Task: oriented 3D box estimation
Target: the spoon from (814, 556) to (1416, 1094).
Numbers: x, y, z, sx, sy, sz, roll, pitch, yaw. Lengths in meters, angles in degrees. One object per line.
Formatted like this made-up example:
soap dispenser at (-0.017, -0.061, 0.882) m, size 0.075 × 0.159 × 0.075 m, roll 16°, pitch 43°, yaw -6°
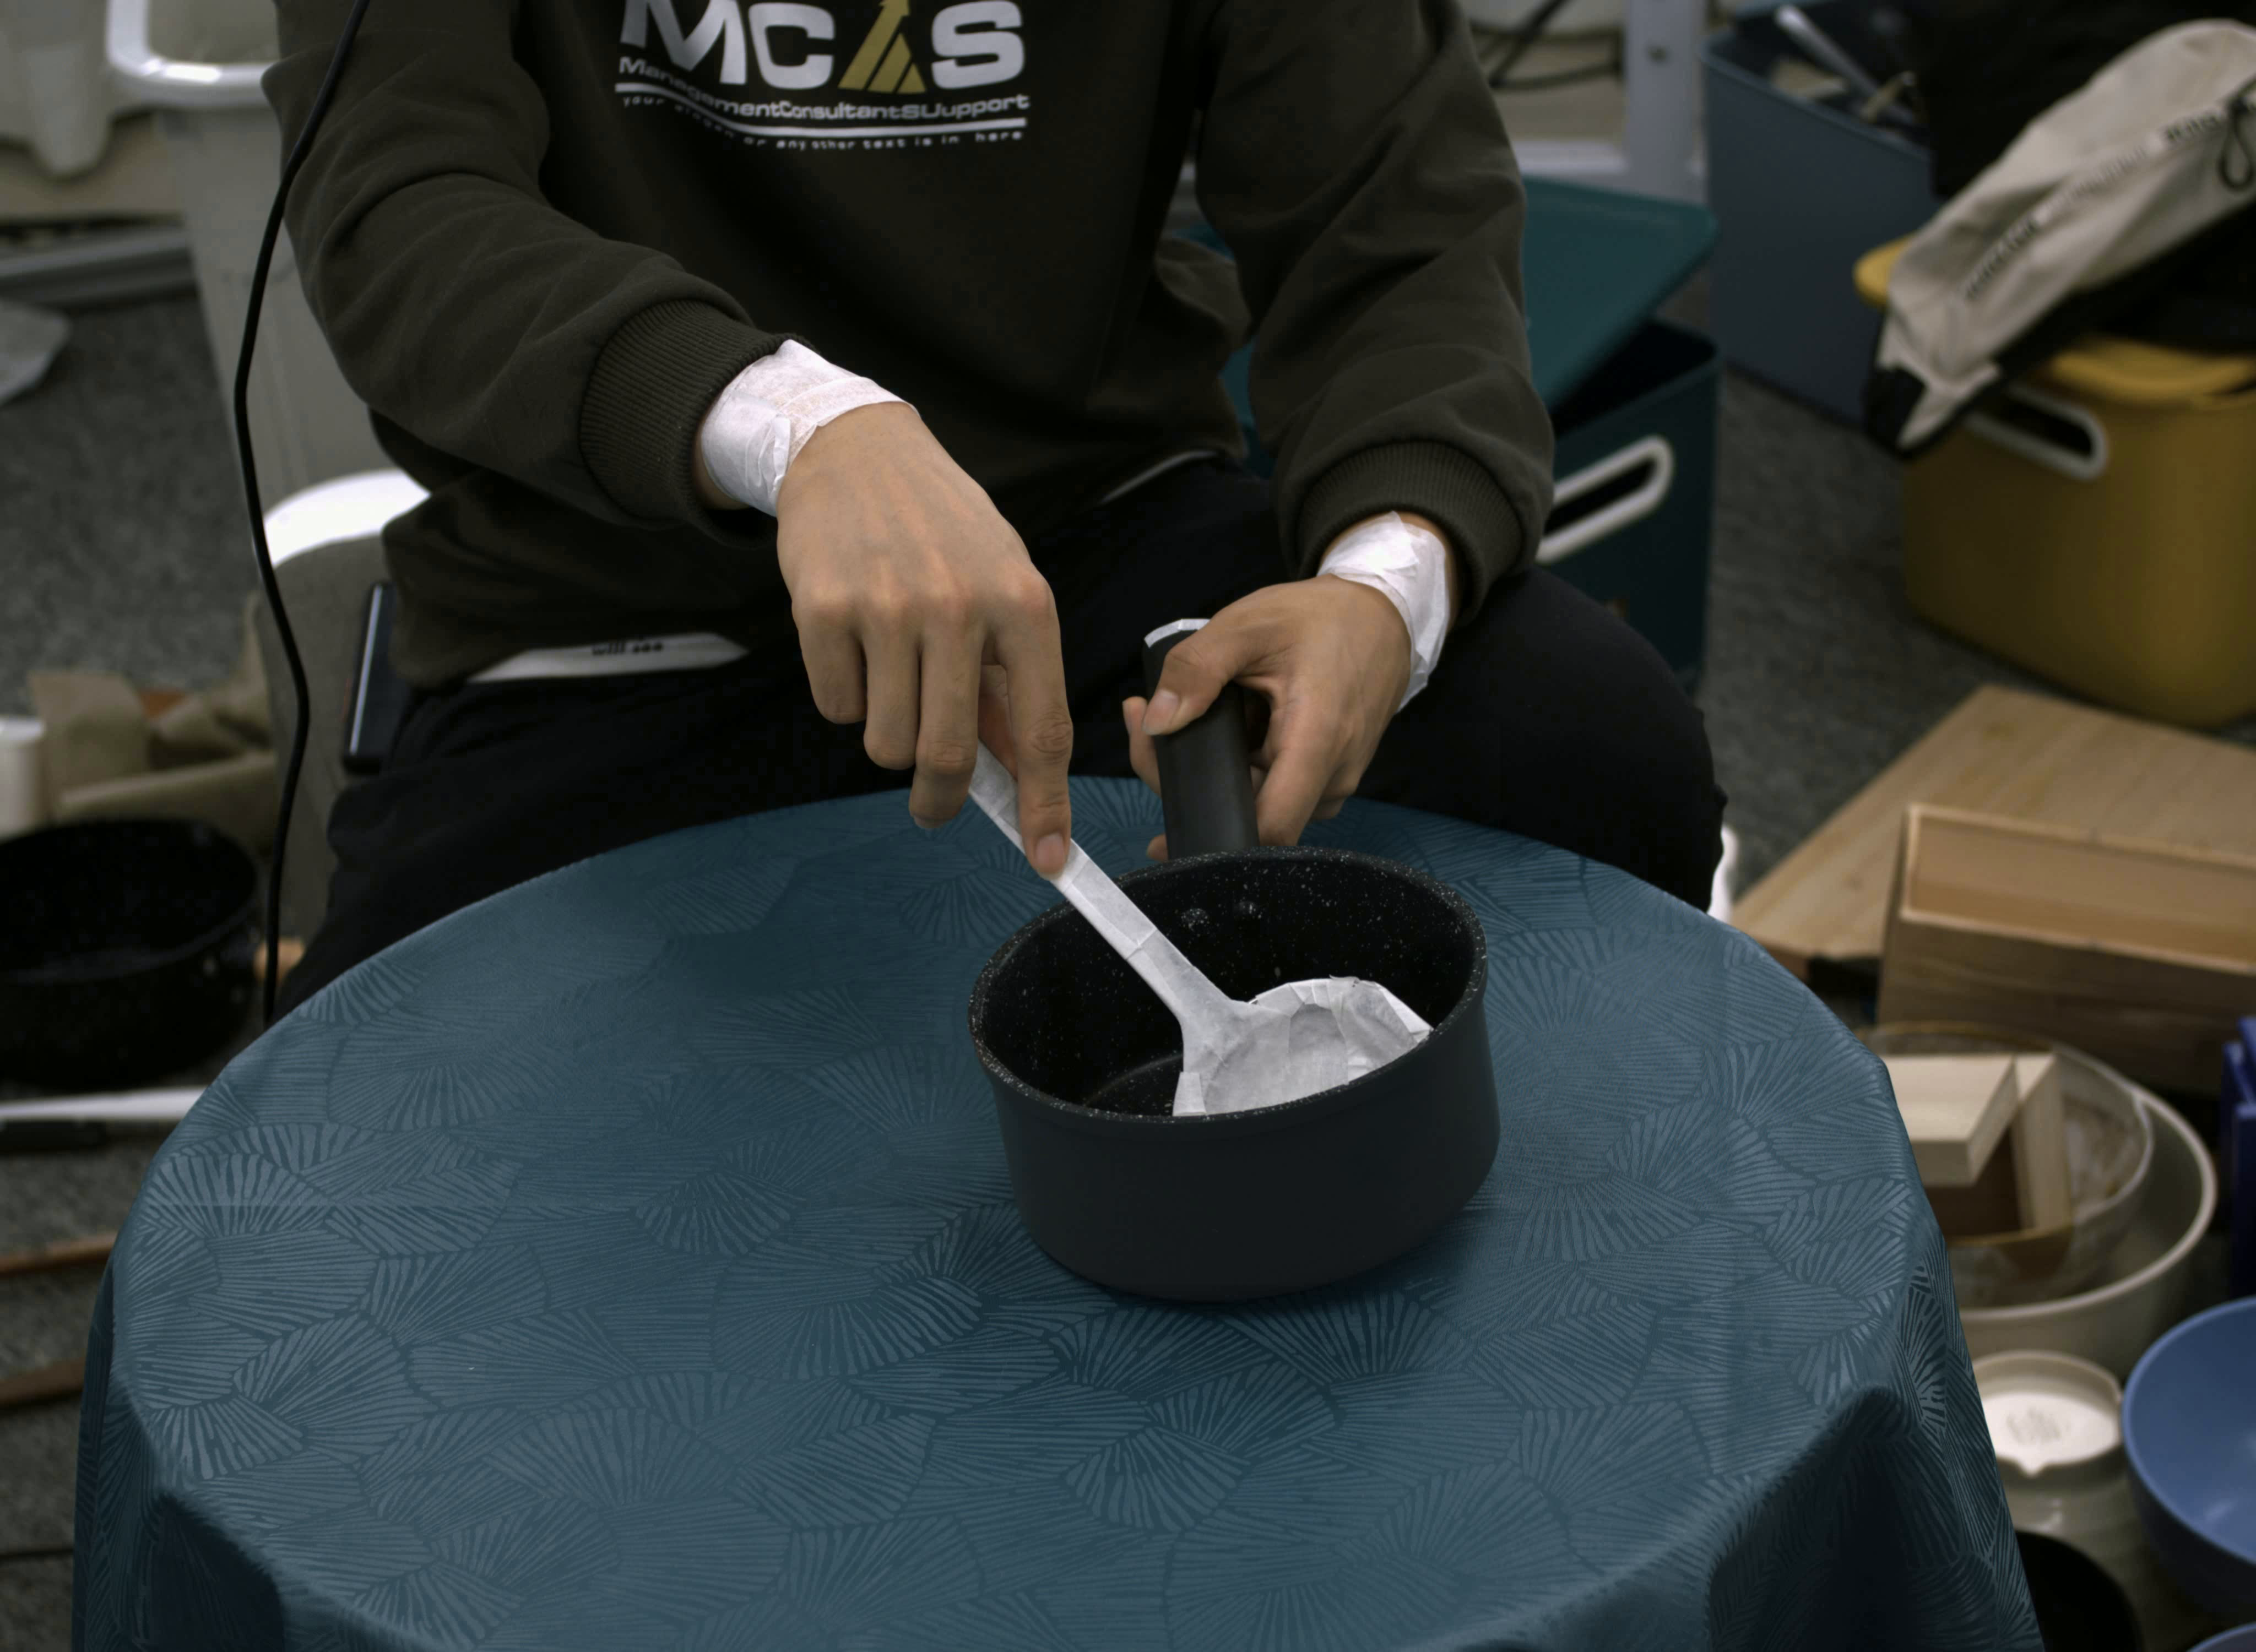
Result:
spoon at (-0.004, 0.011, 1.839) m, size 0.101 × 0.278 × 0.059 m, roll -40°, pitch -2°, yaw -13°

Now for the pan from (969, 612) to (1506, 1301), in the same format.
pan at (0.038, 0.040, 1.908) m, size 0.171 × 0.085 × 0.334 m, roll -6°, pitch 29°, yaw 4°
